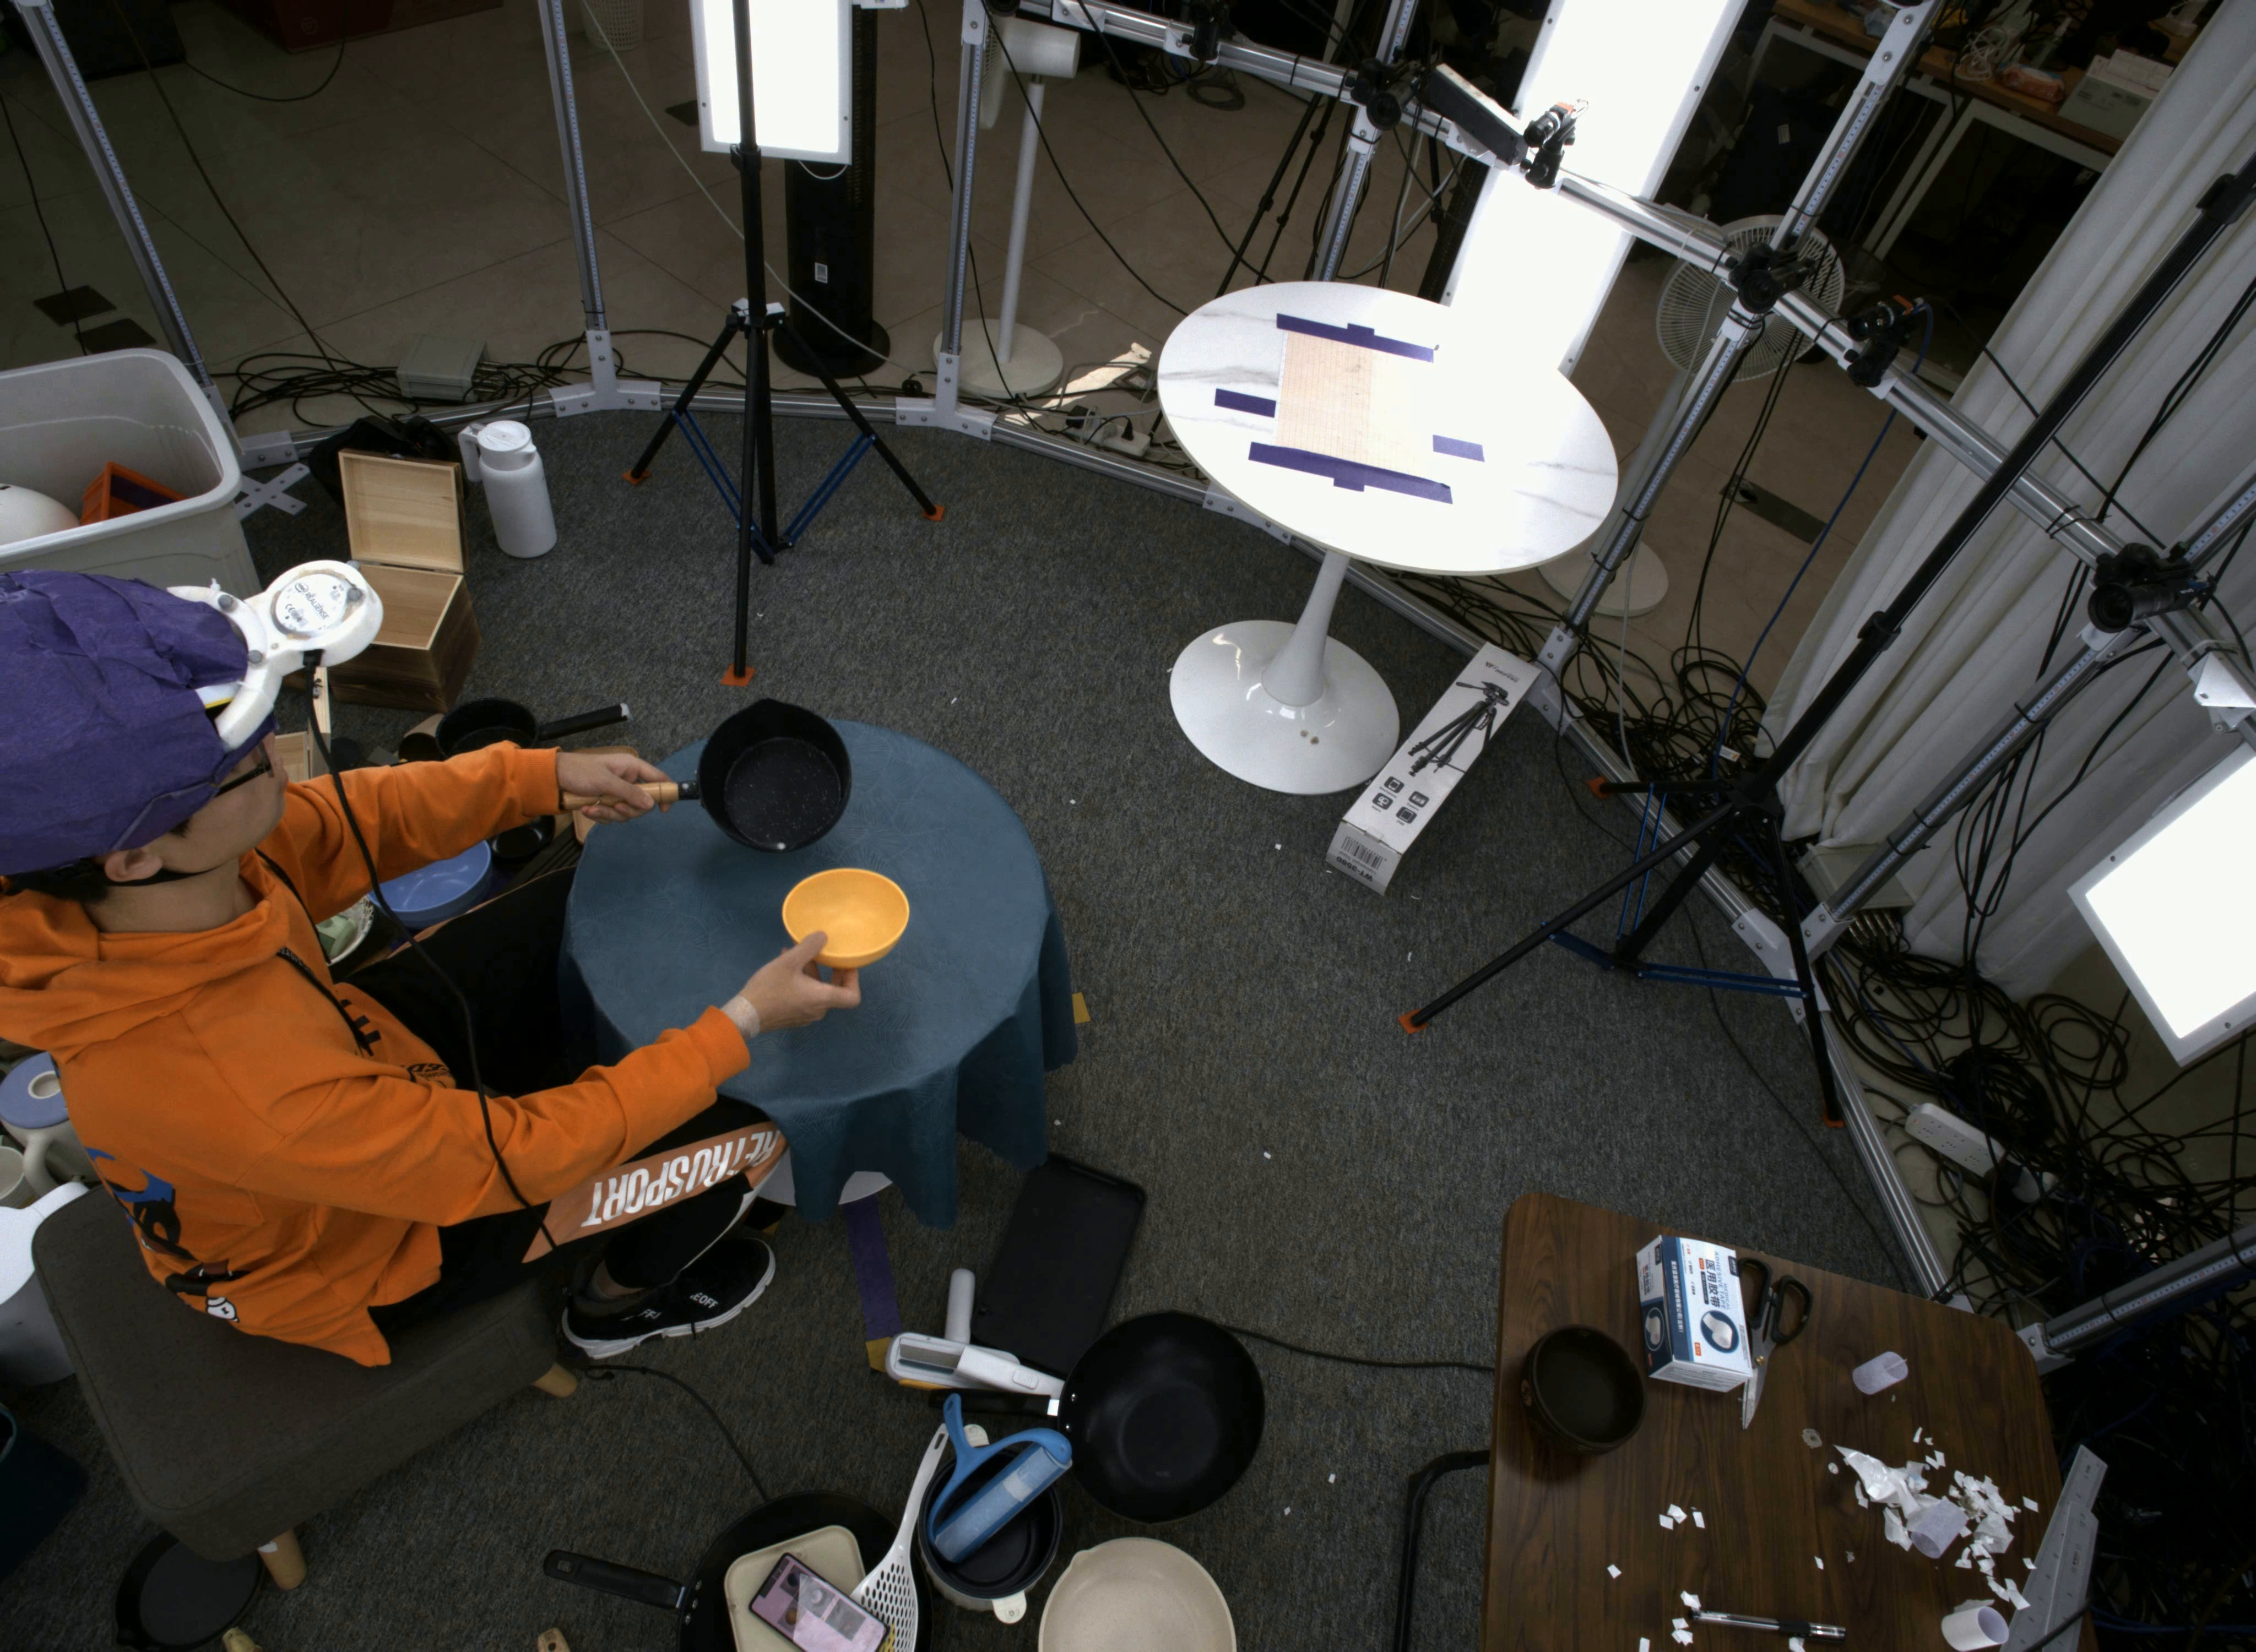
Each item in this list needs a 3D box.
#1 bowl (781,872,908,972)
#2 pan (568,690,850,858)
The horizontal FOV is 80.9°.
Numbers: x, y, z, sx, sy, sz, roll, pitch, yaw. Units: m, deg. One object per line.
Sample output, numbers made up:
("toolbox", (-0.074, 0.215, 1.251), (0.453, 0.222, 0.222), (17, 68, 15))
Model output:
("bowl", (-0.325, 0.120, 1.498), (0.144, 0.062, 0.142), (7, 40, -4))
("pan", (-0.510, -0.045, 1.573), (0.342, 0.108, 0.207), (-10, 79, -13))
